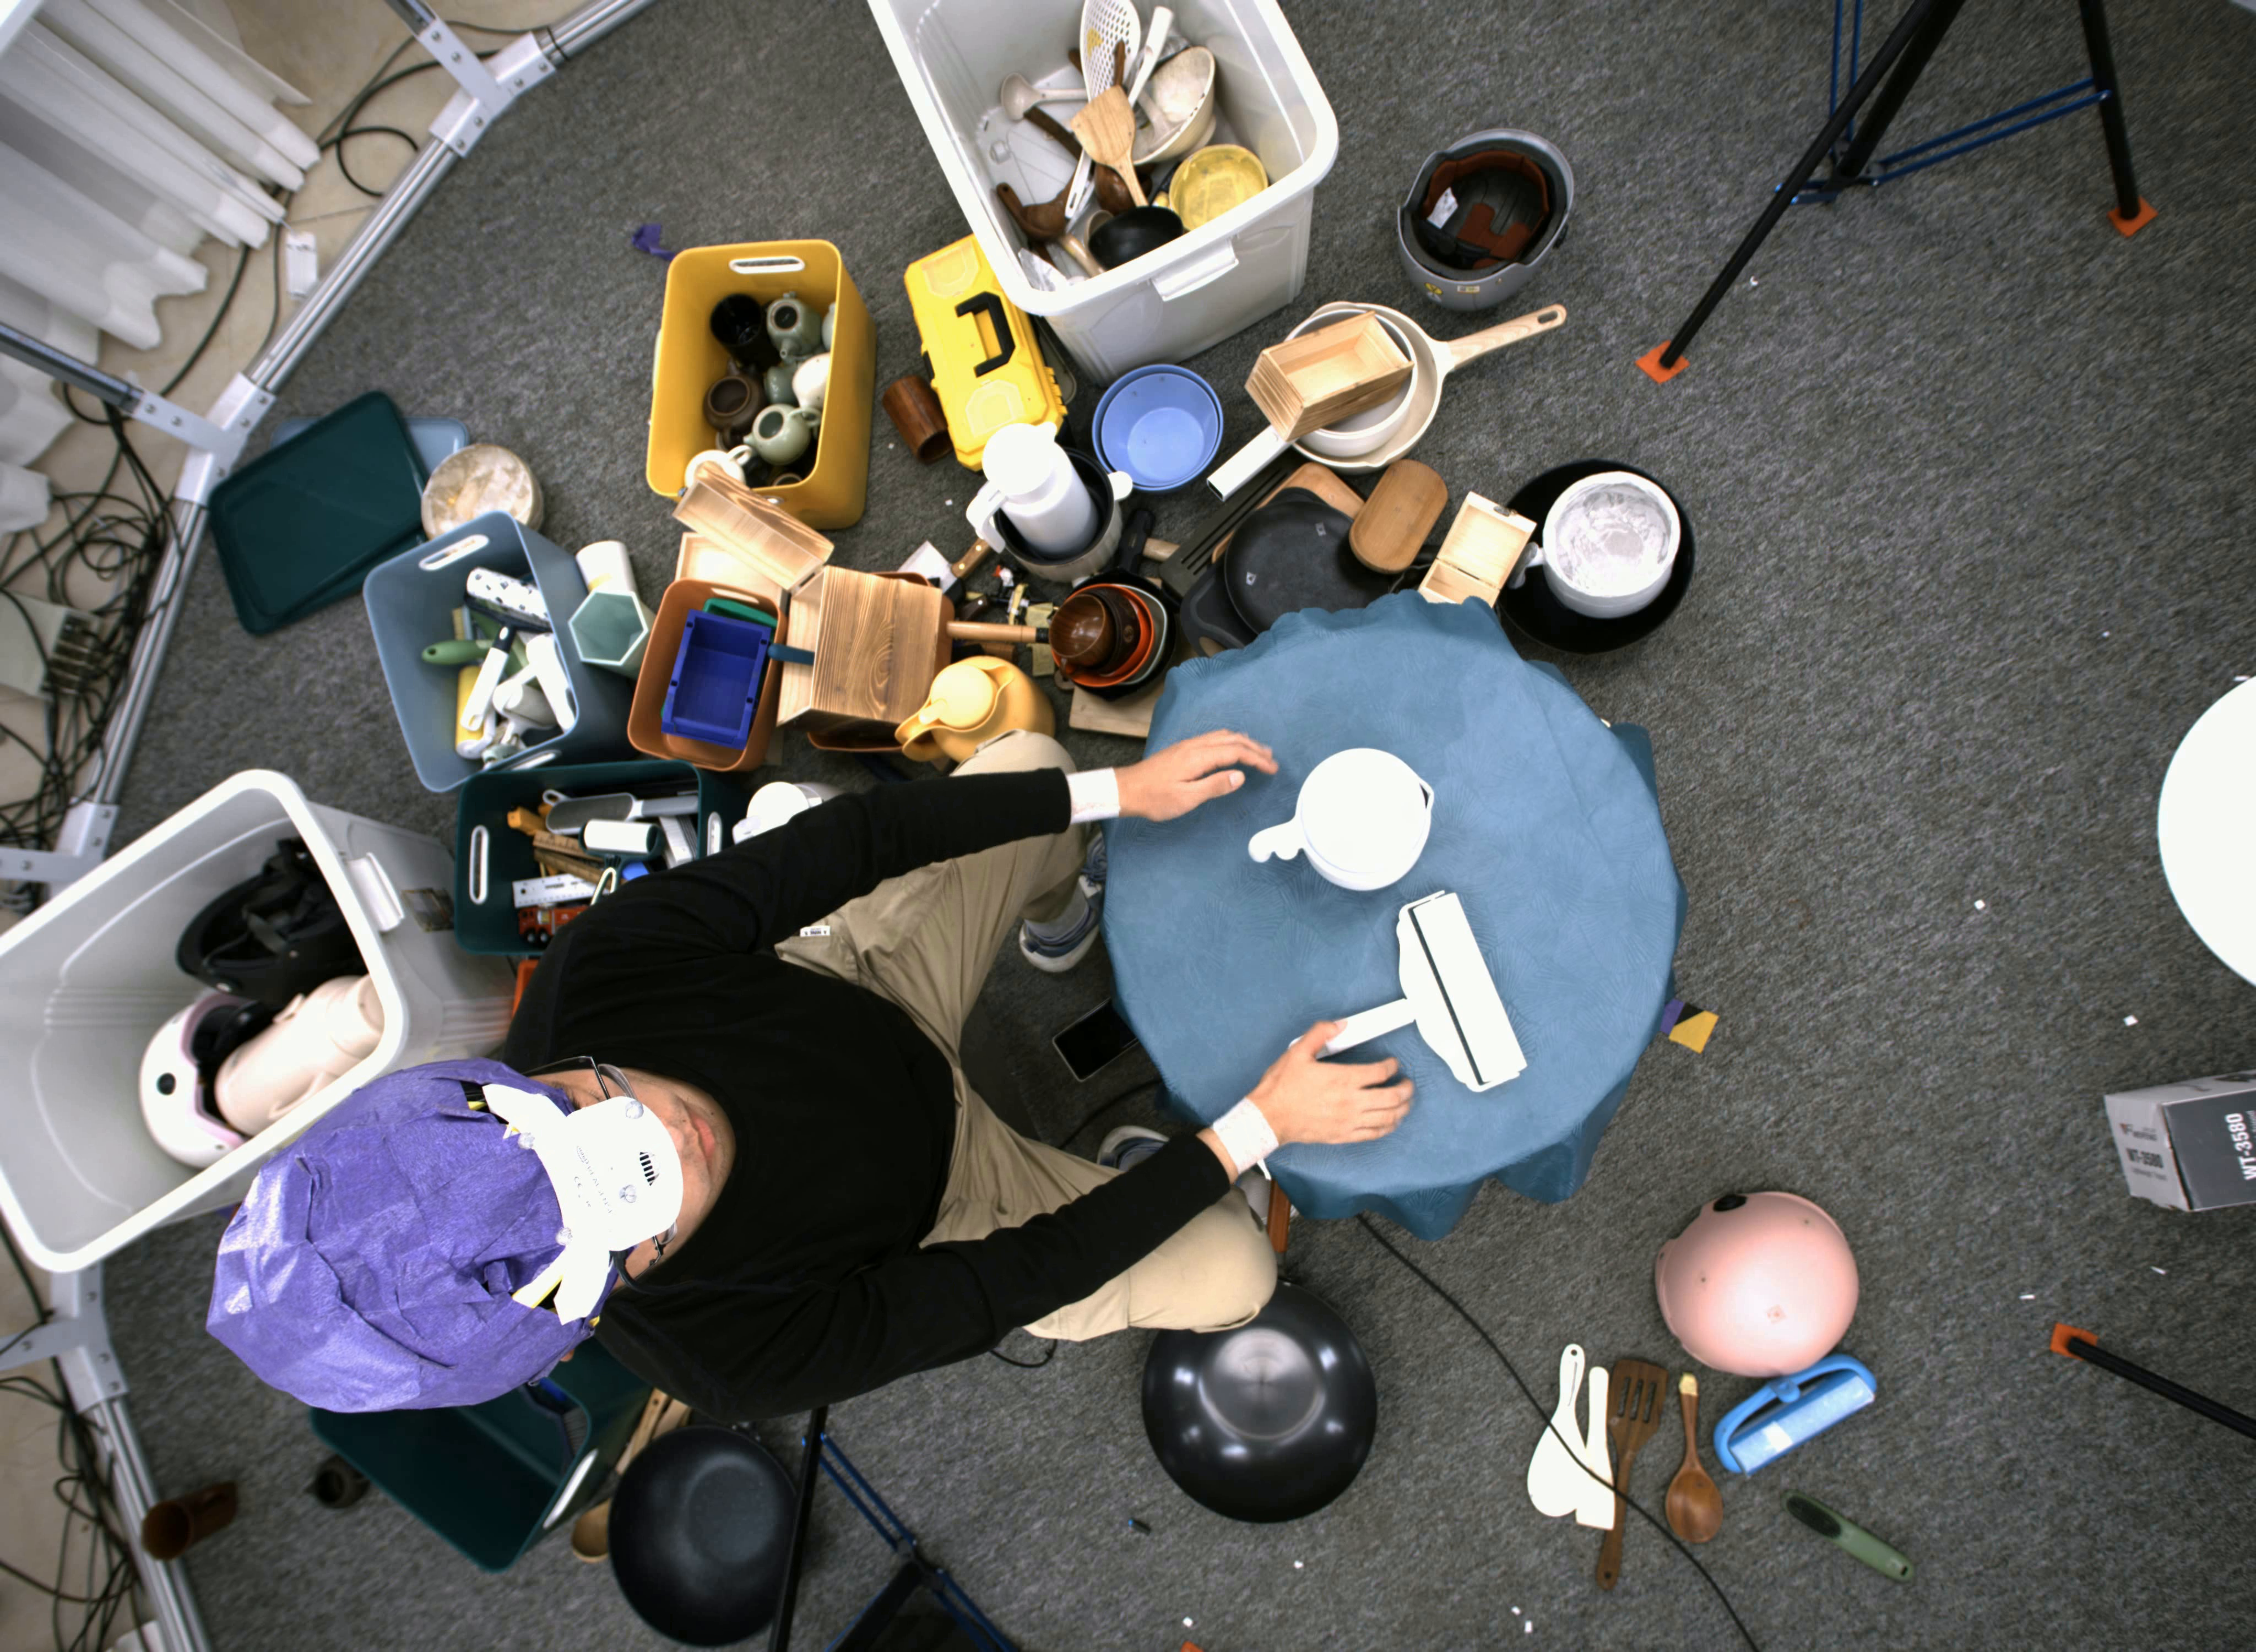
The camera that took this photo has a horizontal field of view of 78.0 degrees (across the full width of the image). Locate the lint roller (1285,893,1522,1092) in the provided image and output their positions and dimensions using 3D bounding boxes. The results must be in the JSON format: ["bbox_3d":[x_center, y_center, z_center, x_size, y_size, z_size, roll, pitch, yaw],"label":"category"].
[{"bbox_3d":[0.267,0.199,1.432,0.227,0.048,0.201,-23,84,10],"label":"lint roller"}]

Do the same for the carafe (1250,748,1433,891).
[{"bbox_3d":[0.212,0.002,1.388,0.192,0.182,0.131,-18,81,10],"label":"carafe"}]
